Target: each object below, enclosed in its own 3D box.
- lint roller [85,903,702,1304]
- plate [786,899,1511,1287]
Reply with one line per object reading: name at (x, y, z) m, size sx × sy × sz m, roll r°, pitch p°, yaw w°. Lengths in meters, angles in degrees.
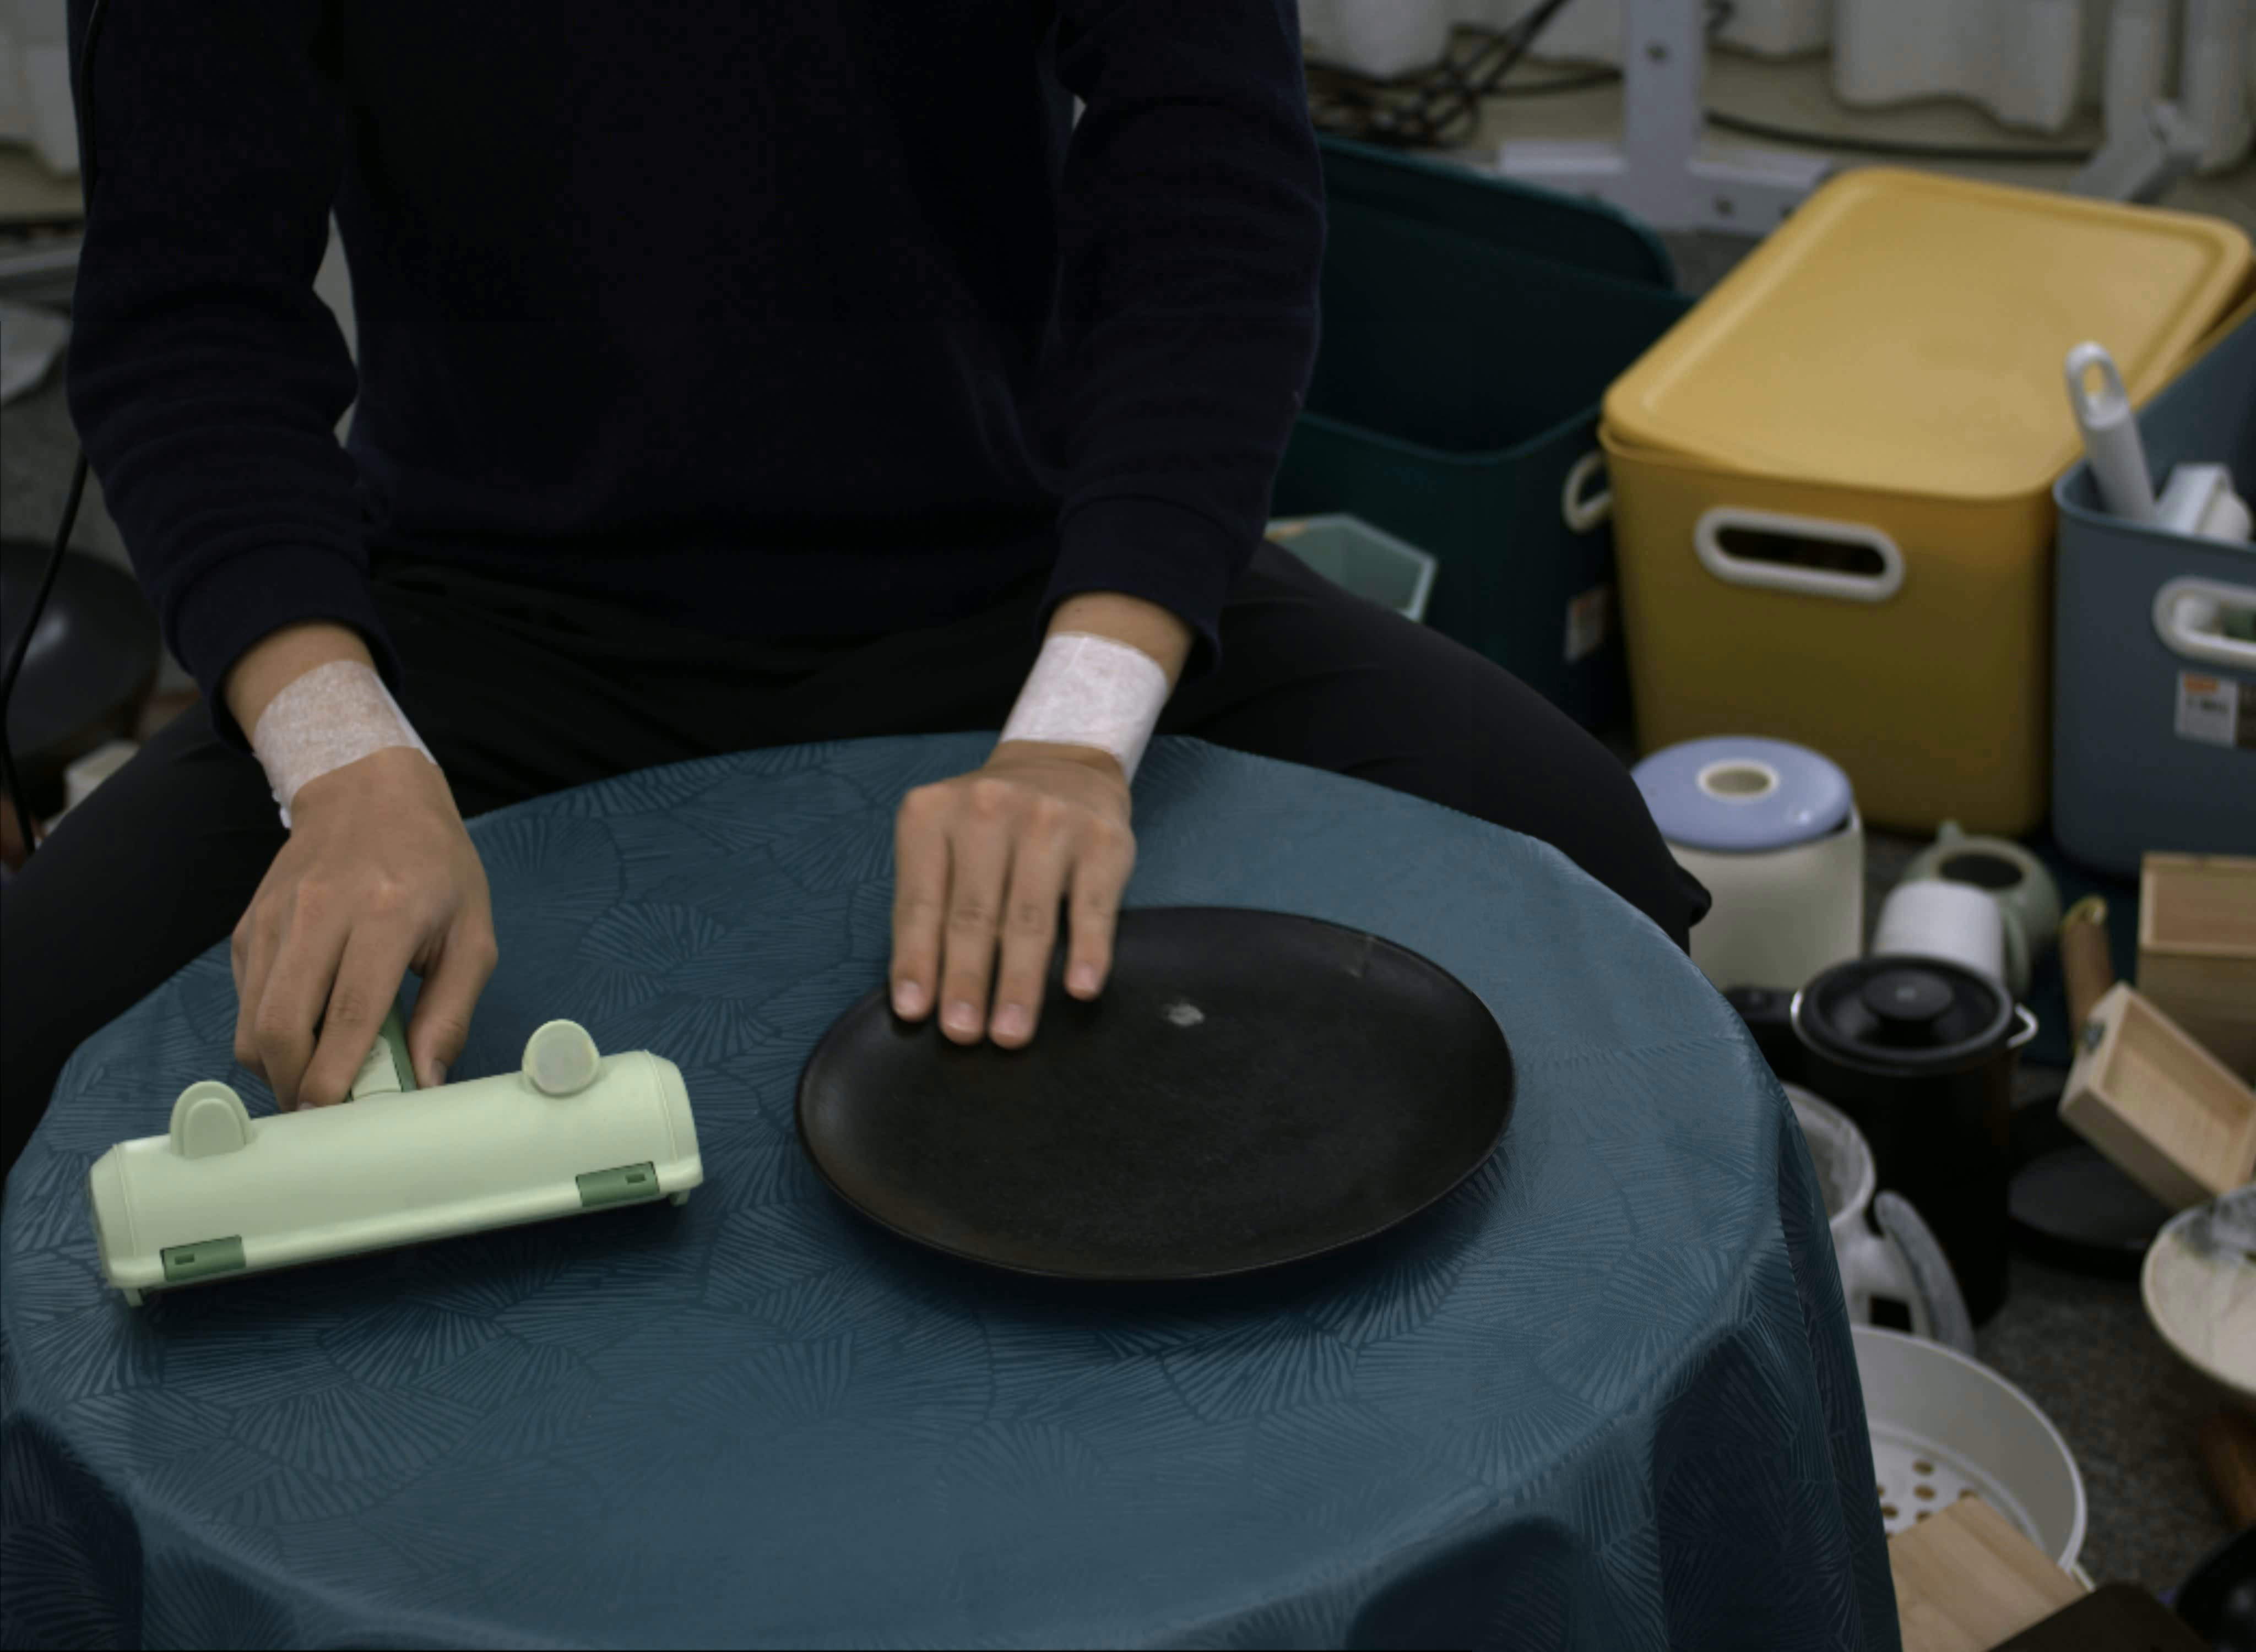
lint roller at (-0.256, 0.072, 1.873) m, size 0.199 × 0.081 × 0.186 m, roll -10°, pitch 45°, yaw -14°
plate at (0.007, 0.094, 1.886) m, size 0.243 × 0.023 × 0.248 m, roll -2°, pitch 28°, yaw 1°
